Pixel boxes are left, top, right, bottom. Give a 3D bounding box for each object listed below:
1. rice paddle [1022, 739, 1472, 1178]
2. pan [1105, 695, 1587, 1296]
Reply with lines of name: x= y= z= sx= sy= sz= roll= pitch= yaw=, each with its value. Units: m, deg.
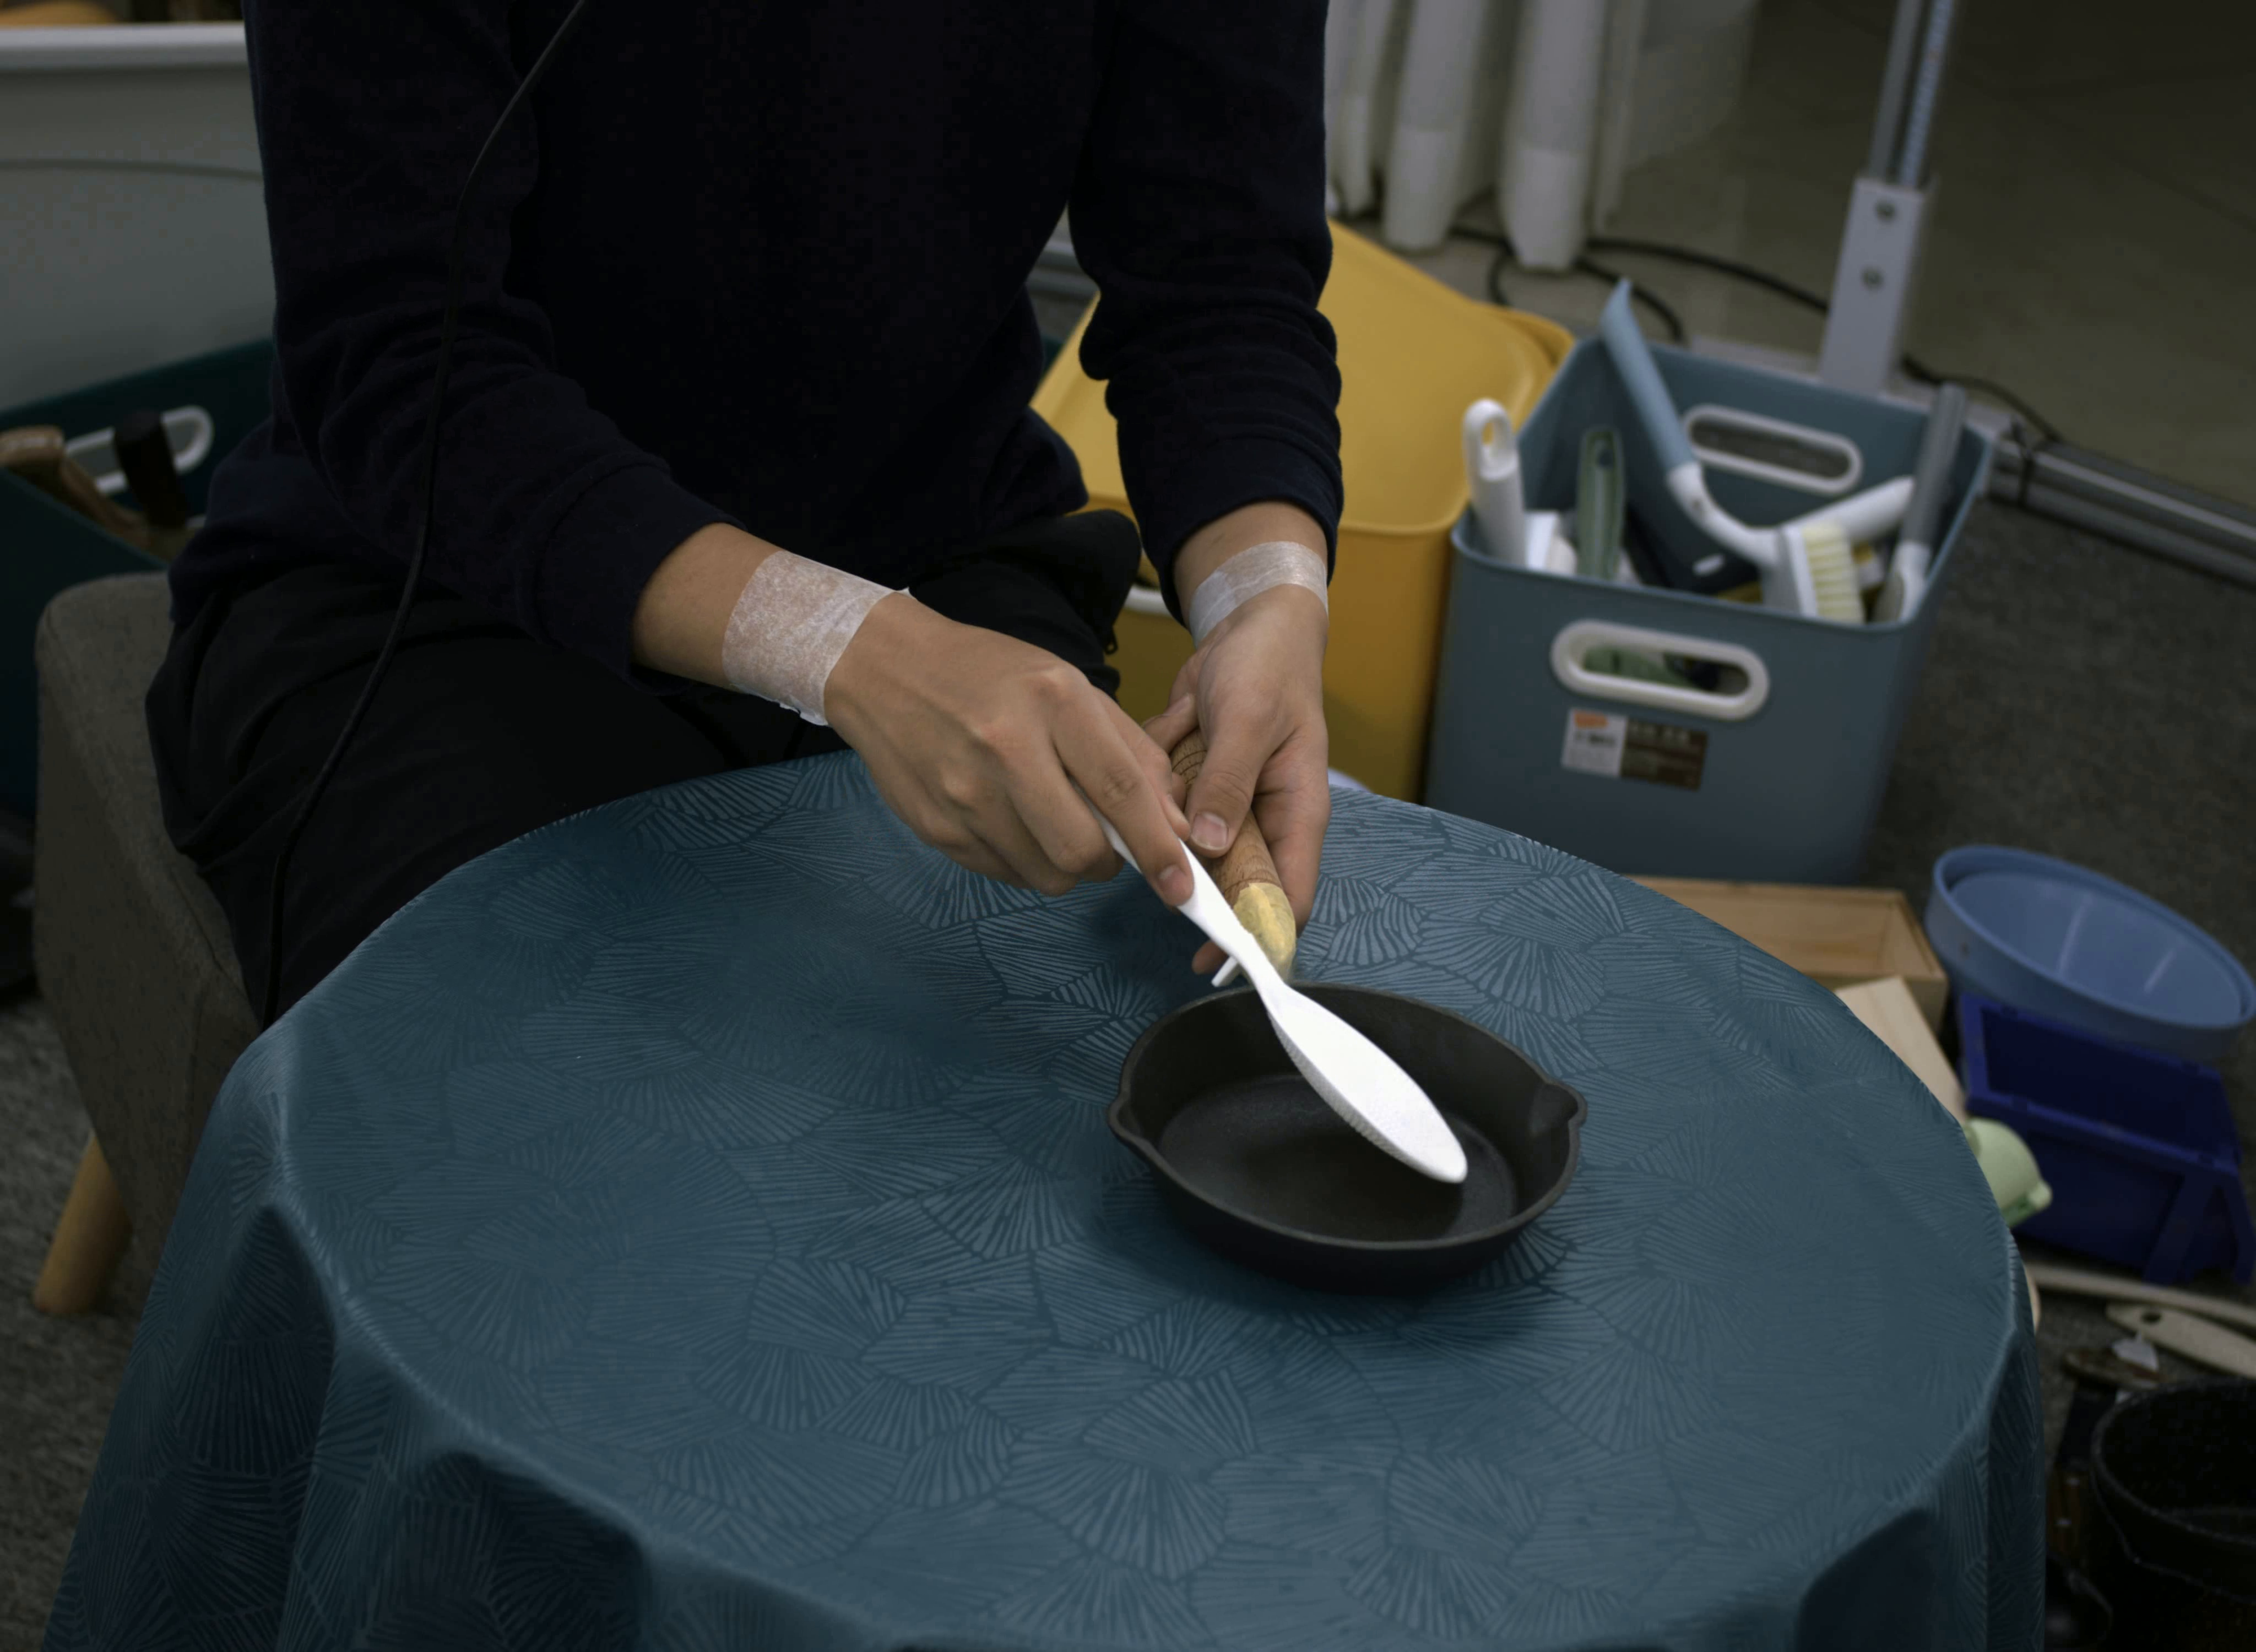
rice paddle: x=0.045 y=0.048 z=1.831 sx=0.206 sy=0.029 sz=0.068 roll=44 pitch=18 yaw=15
pan: x=0.056 y=0.057 z=1.868 sx=0.168 sy=0.049 sz=0.327 roll=-1 pitch=33 yaw=-13
